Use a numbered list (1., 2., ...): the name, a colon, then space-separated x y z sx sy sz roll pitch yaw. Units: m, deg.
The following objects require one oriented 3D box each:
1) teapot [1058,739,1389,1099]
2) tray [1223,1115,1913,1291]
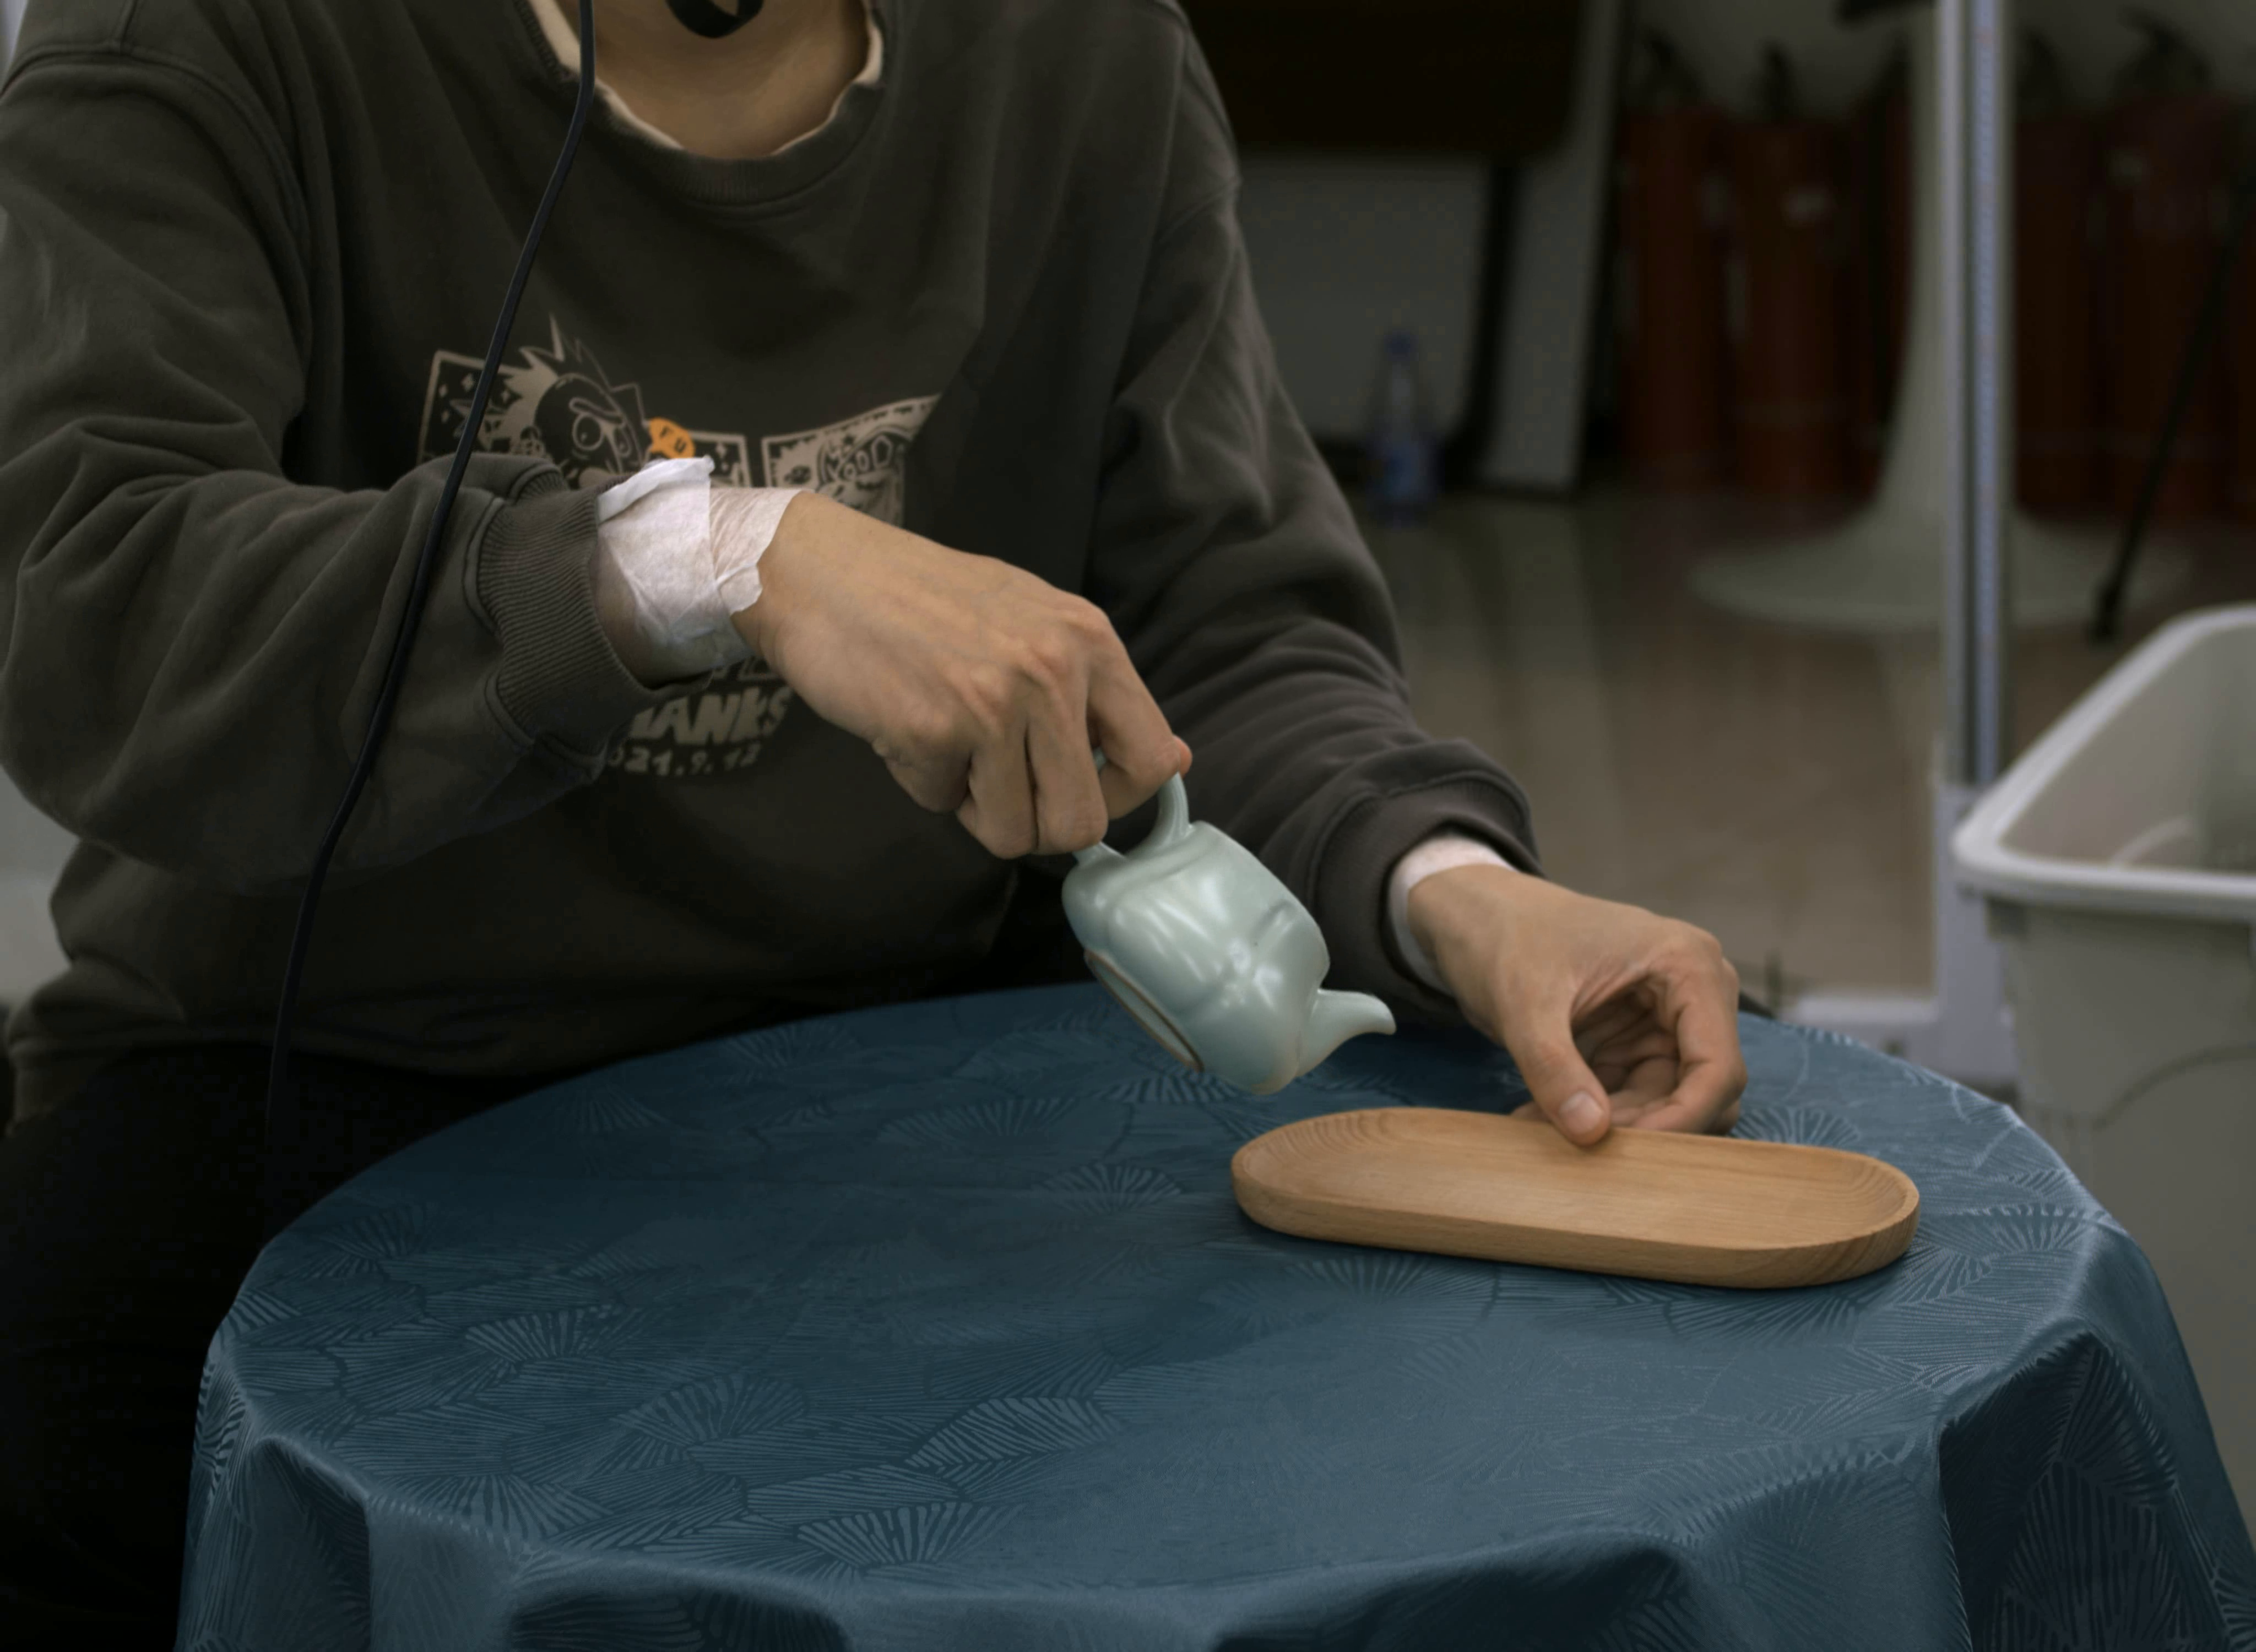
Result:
1. teapot: 0.021 0.035 1.690 0.061 0.136 0.097 -43 17 -7
2. tray: 0.138 0.119 1.709 0.232 0.020 0.100 2 14 30
